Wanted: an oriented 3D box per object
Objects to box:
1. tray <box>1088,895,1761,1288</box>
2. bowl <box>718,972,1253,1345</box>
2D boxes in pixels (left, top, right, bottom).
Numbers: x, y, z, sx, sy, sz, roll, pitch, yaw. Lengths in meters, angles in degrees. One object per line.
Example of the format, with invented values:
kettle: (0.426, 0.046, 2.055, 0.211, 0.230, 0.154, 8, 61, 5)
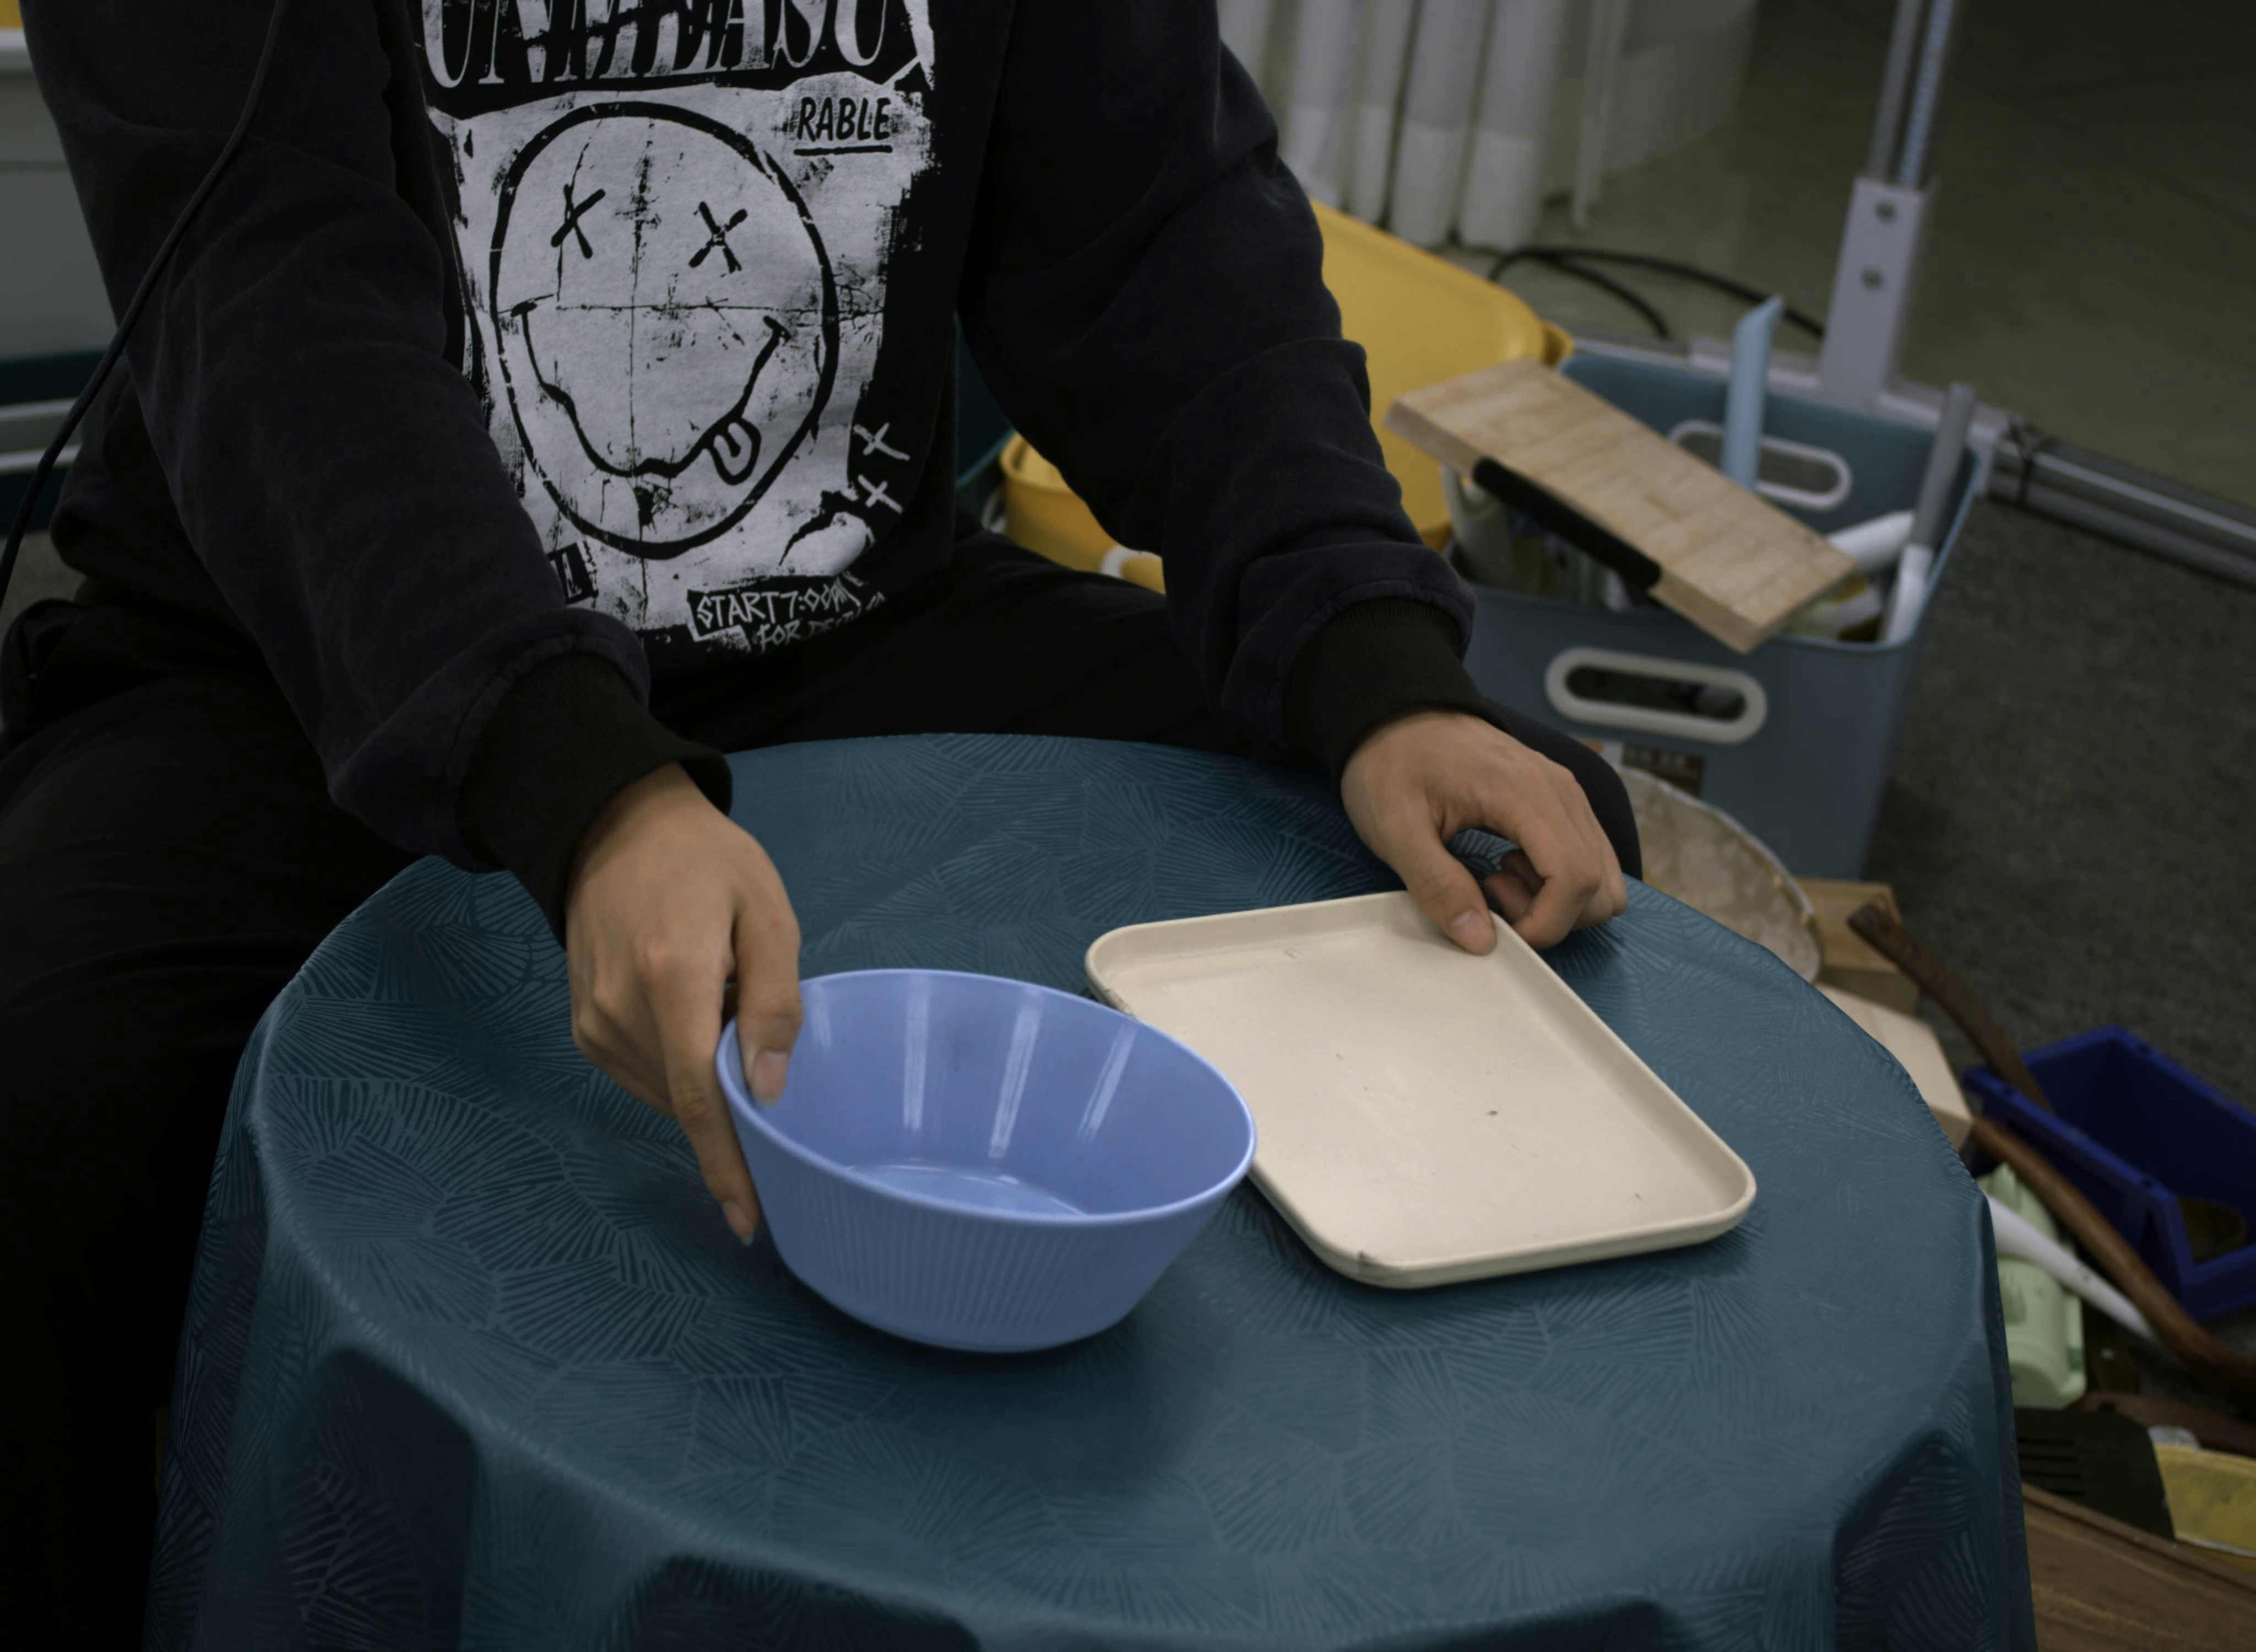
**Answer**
tray: (0.100, 0.092, 1.867, 0.170, 0.017, 0.242, -6, 29, -24)
bowl: (-0.051, 0.112, 1.717, 0.175, 0.070, 0.177, 10, 21, -4)
